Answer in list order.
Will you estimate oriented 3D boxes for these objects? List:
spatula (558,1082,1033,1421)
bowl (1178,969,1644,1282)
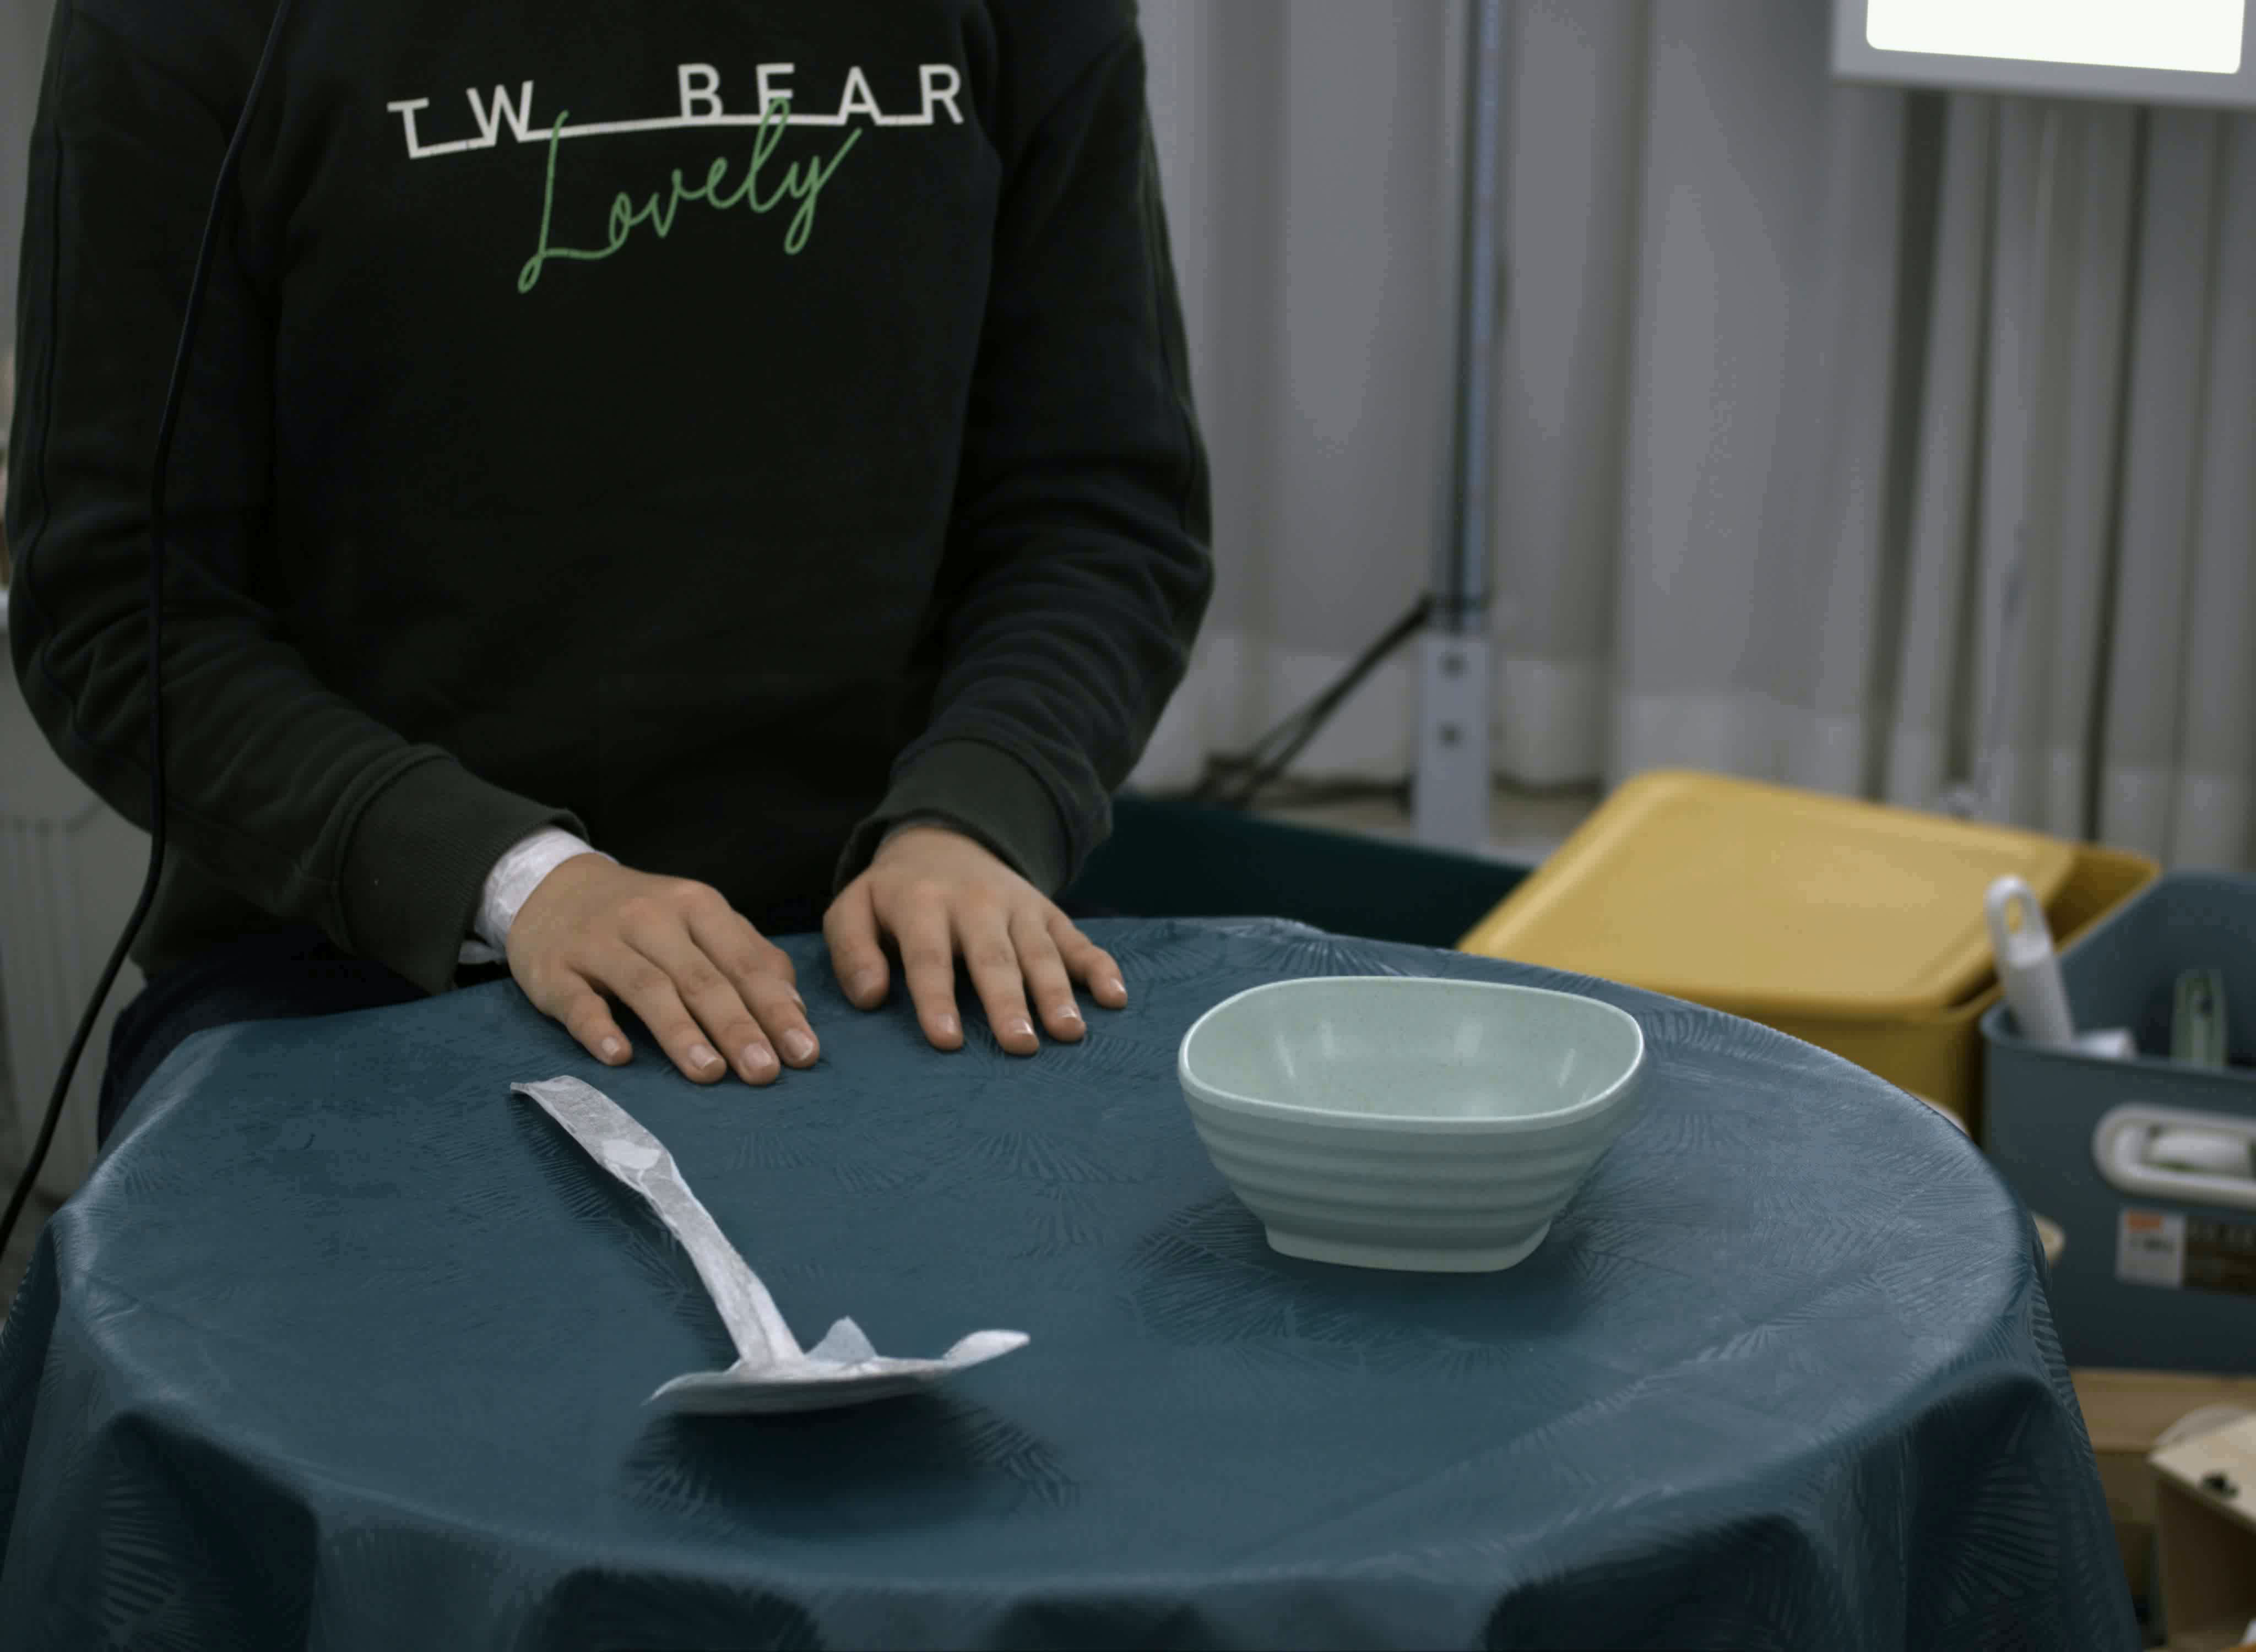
[{"bbox_3d":[-0.123,0.115,1.542,0.099,0.045,0.361,-7,18,-18],"label":"spatula"},{"bbox_3d":[0.084,0.094,1.593,0.151,0.059,0.150,3,18,0],"label":"bowl"}]
